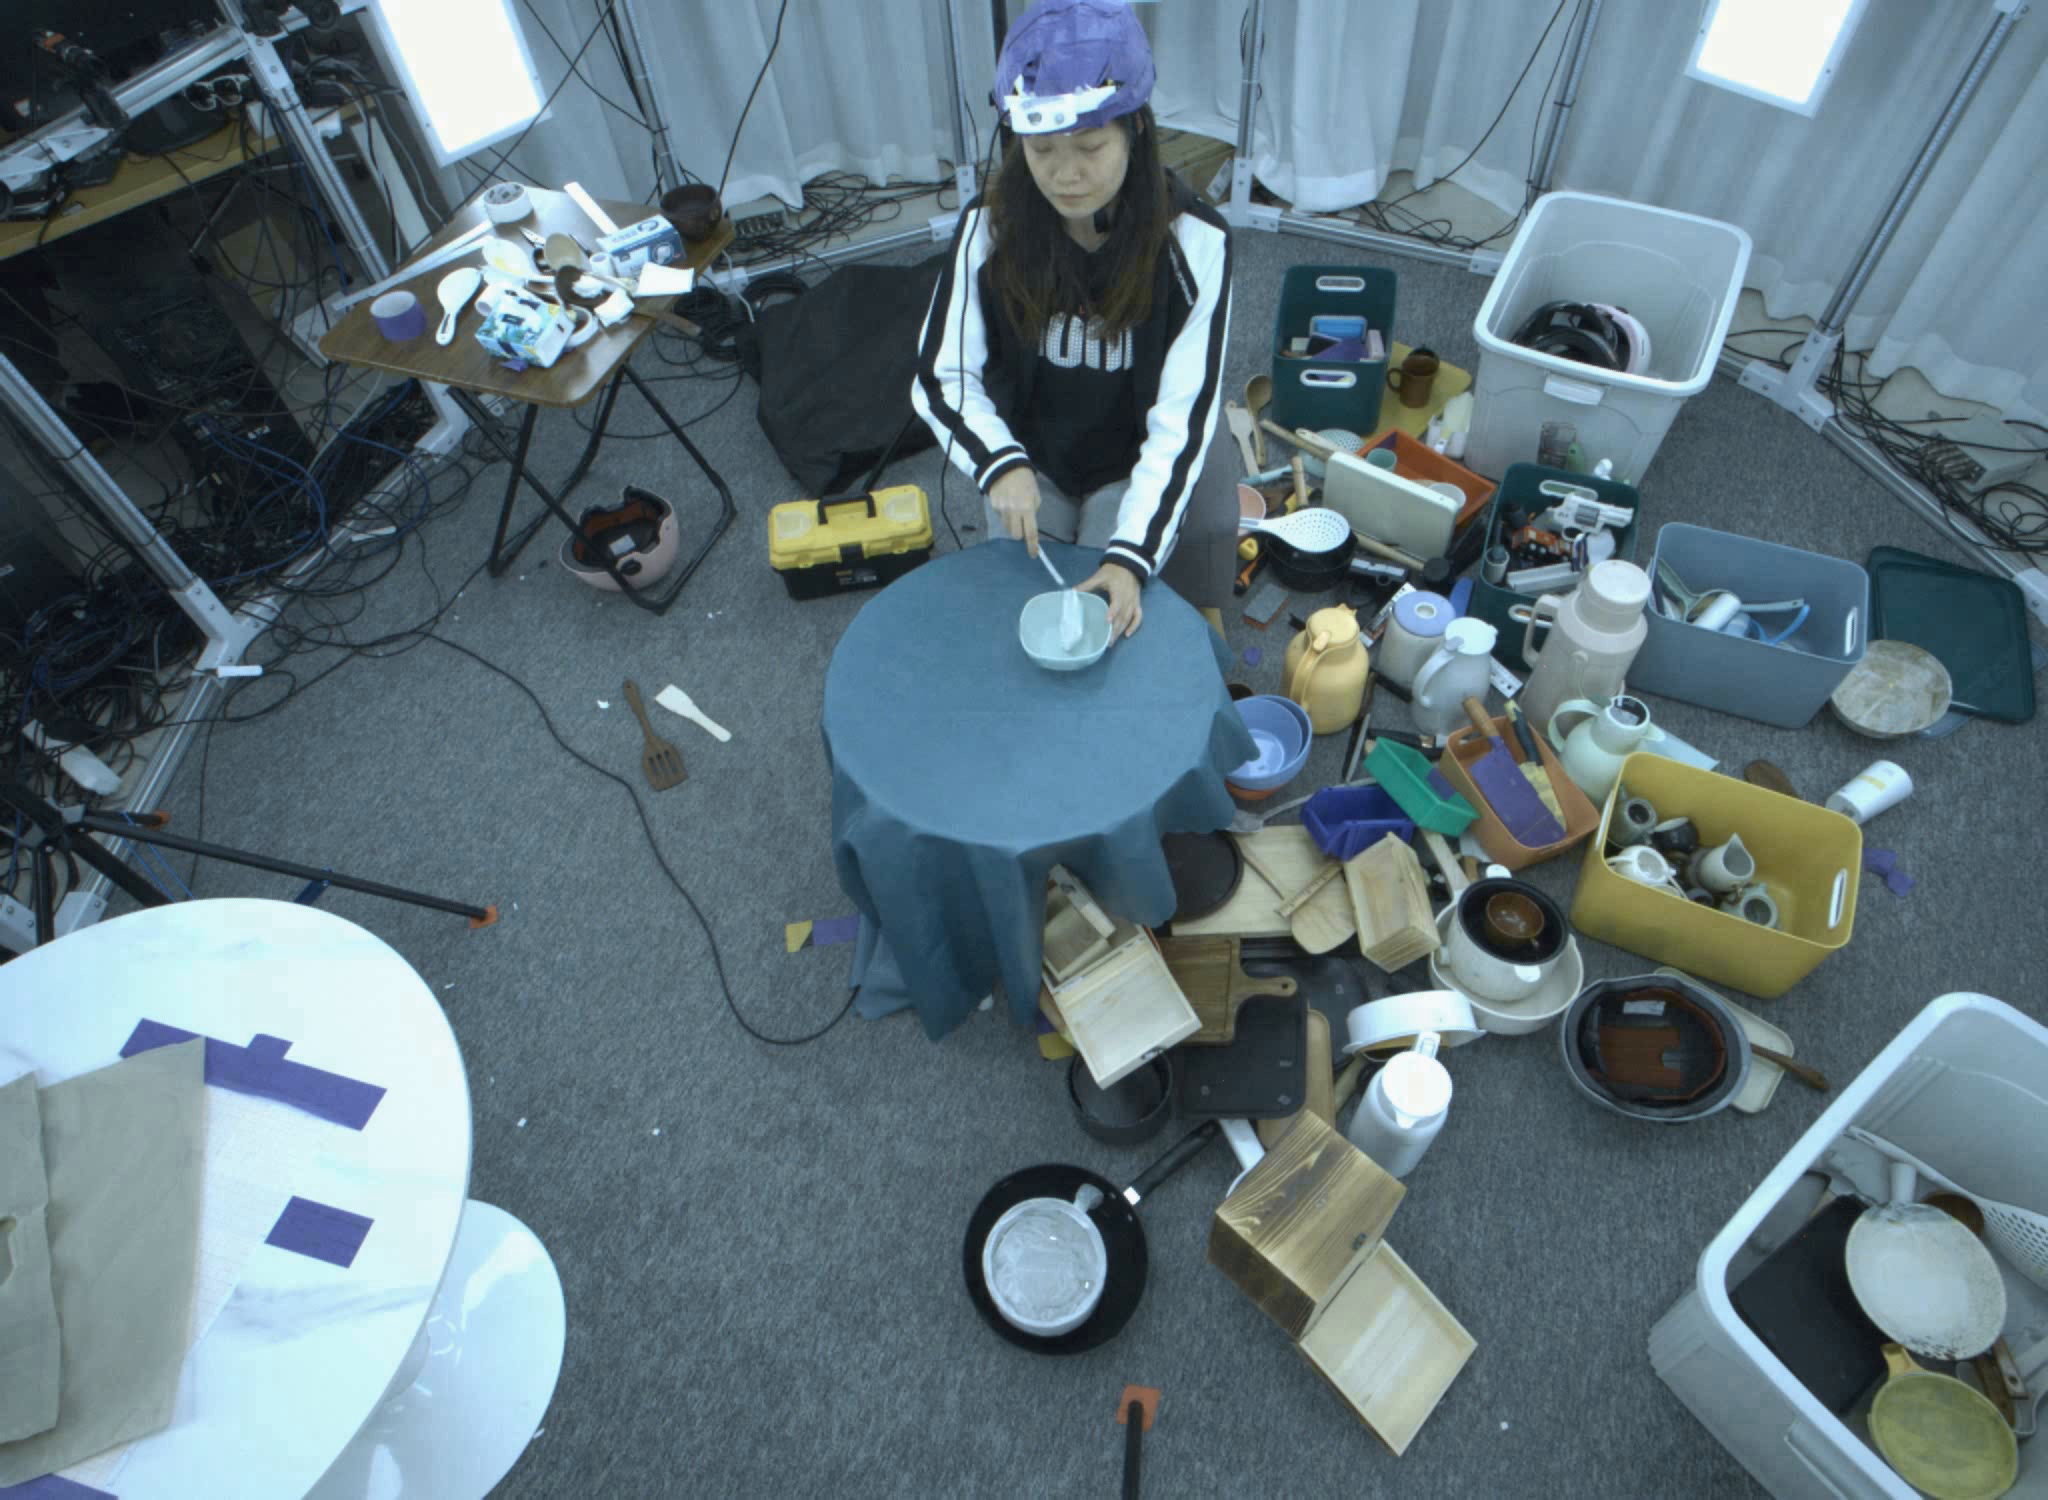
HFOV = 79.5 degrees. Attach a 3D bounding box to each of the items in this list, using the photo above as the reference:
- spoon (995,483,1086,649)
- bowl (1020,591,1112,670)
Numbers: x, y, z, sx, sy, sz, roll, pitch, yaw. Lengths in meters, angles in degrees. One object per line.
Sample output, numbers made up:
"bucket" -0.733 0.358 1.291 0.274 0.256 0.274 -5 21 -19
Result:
"spoon" 0.016 -0.283 1.857 0.060 0.100 0.277 -35 91 -25
"bowl" 0.064 -0.173 1.876 0.151 0.059 0.150 0 55 2
